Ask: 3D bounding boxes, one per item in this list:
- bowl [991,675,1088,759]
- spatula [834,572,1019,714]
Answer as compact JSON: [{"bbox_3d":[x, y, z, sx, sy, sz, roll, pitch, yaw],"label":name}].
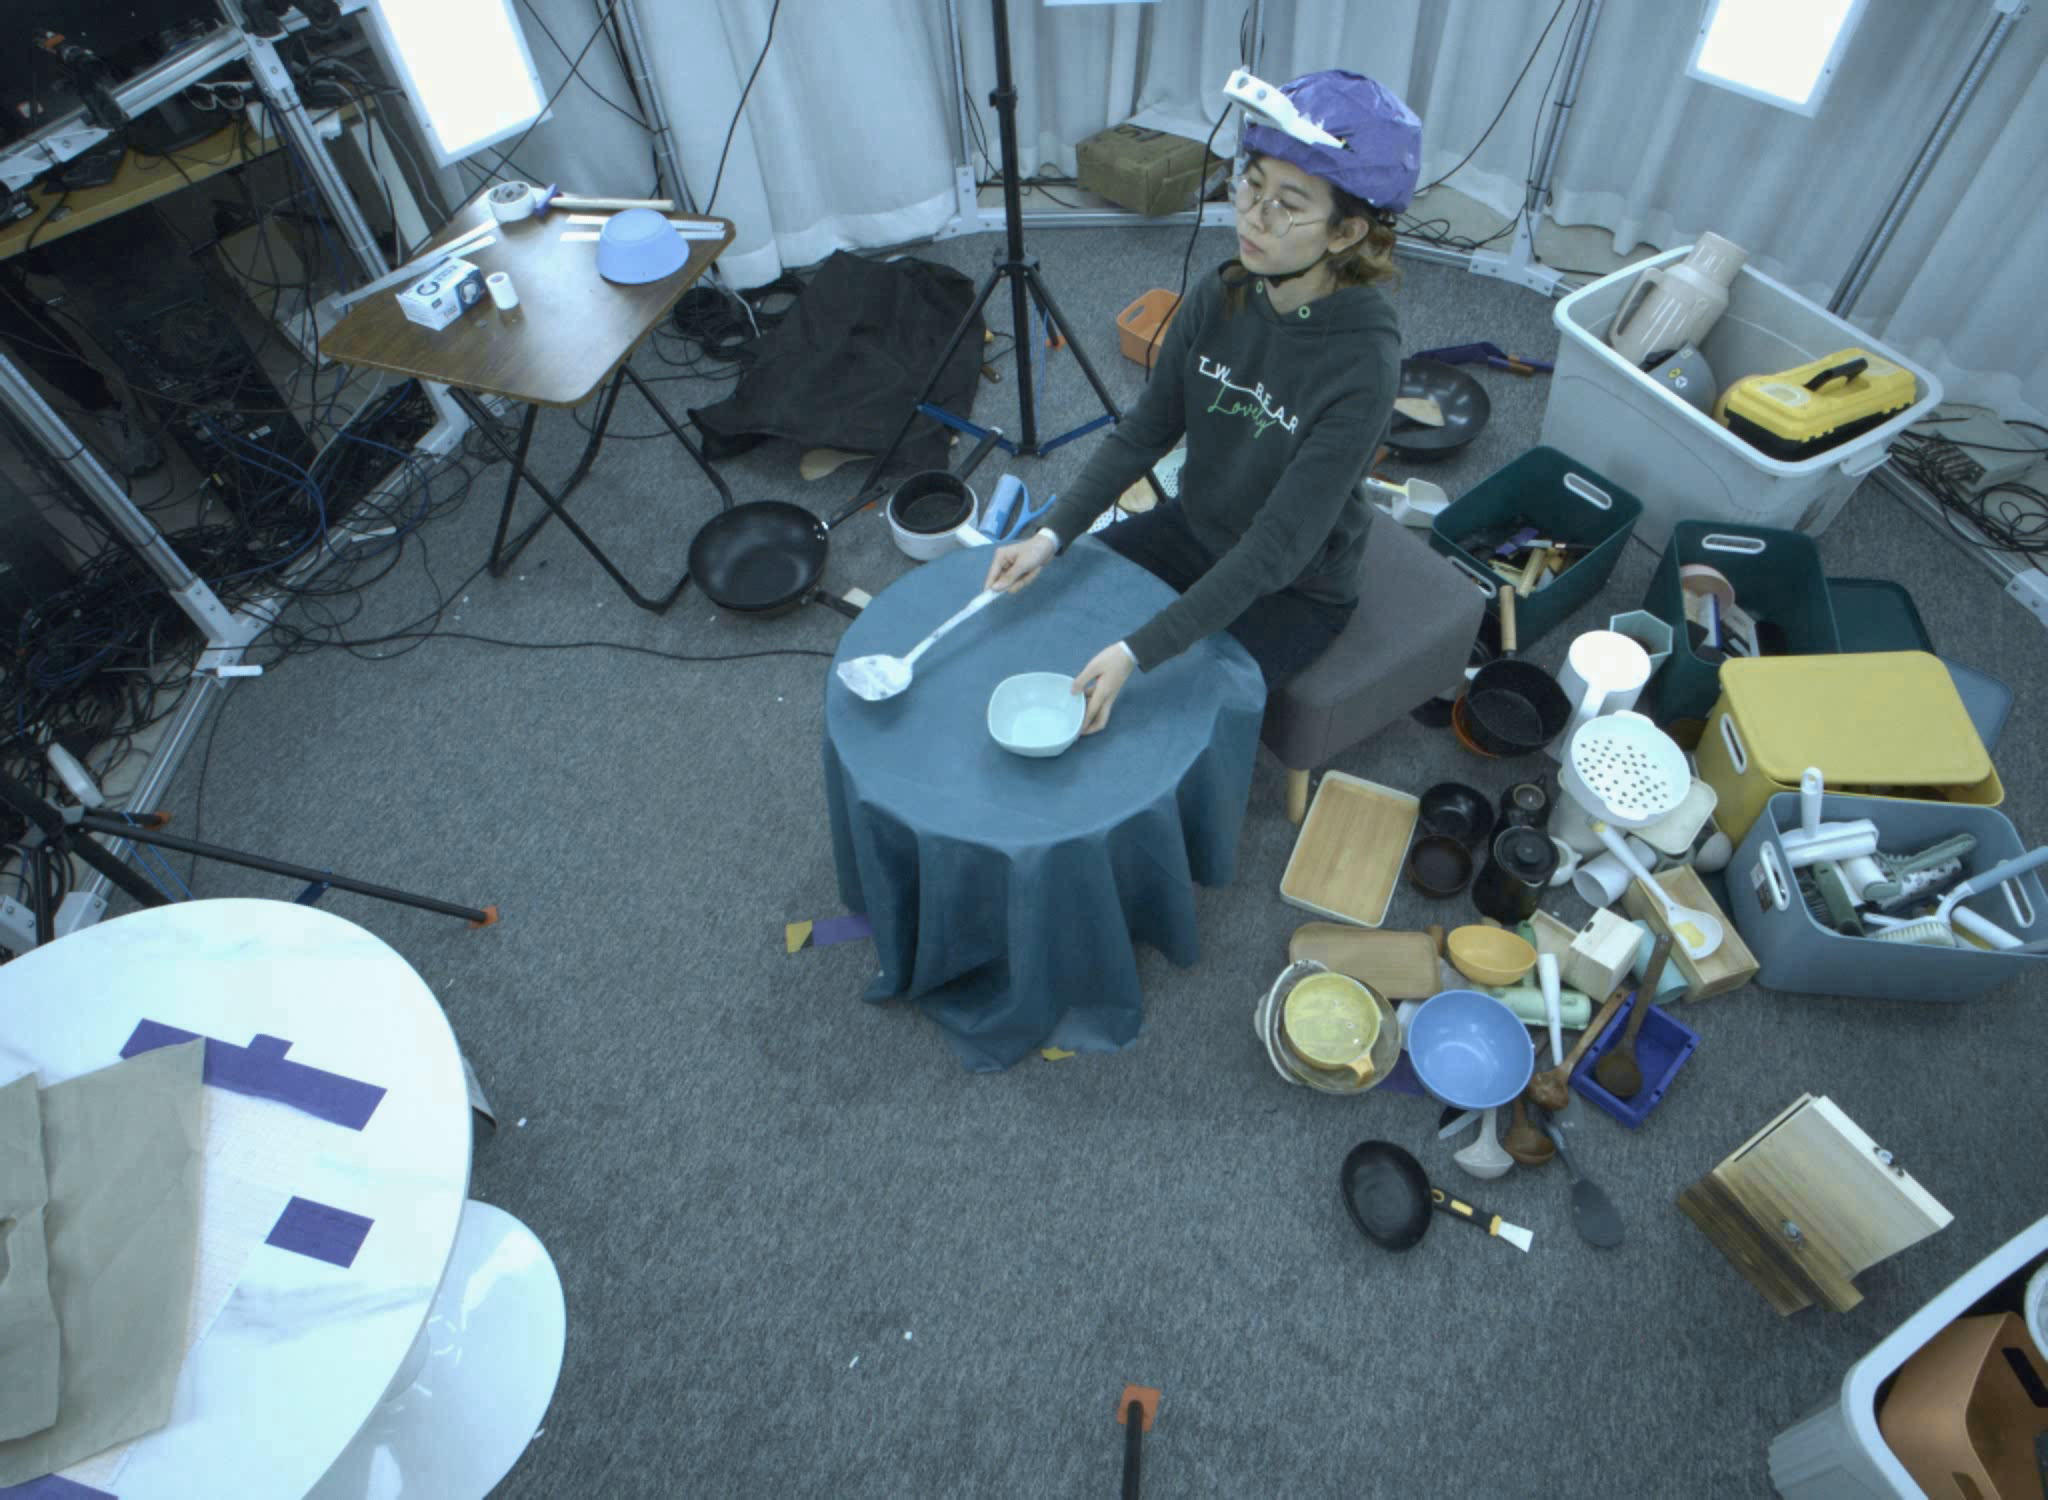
[{"bbox_3d":[0.025,-0.038,1.783,0.151,0.059,0.150,-3,55,6],"label":"bowl"},{"bbox_3d":[-0.135,-0.180,1.863,0.098,0.045,0.367,41,65,12],"label":"spatula"}]
